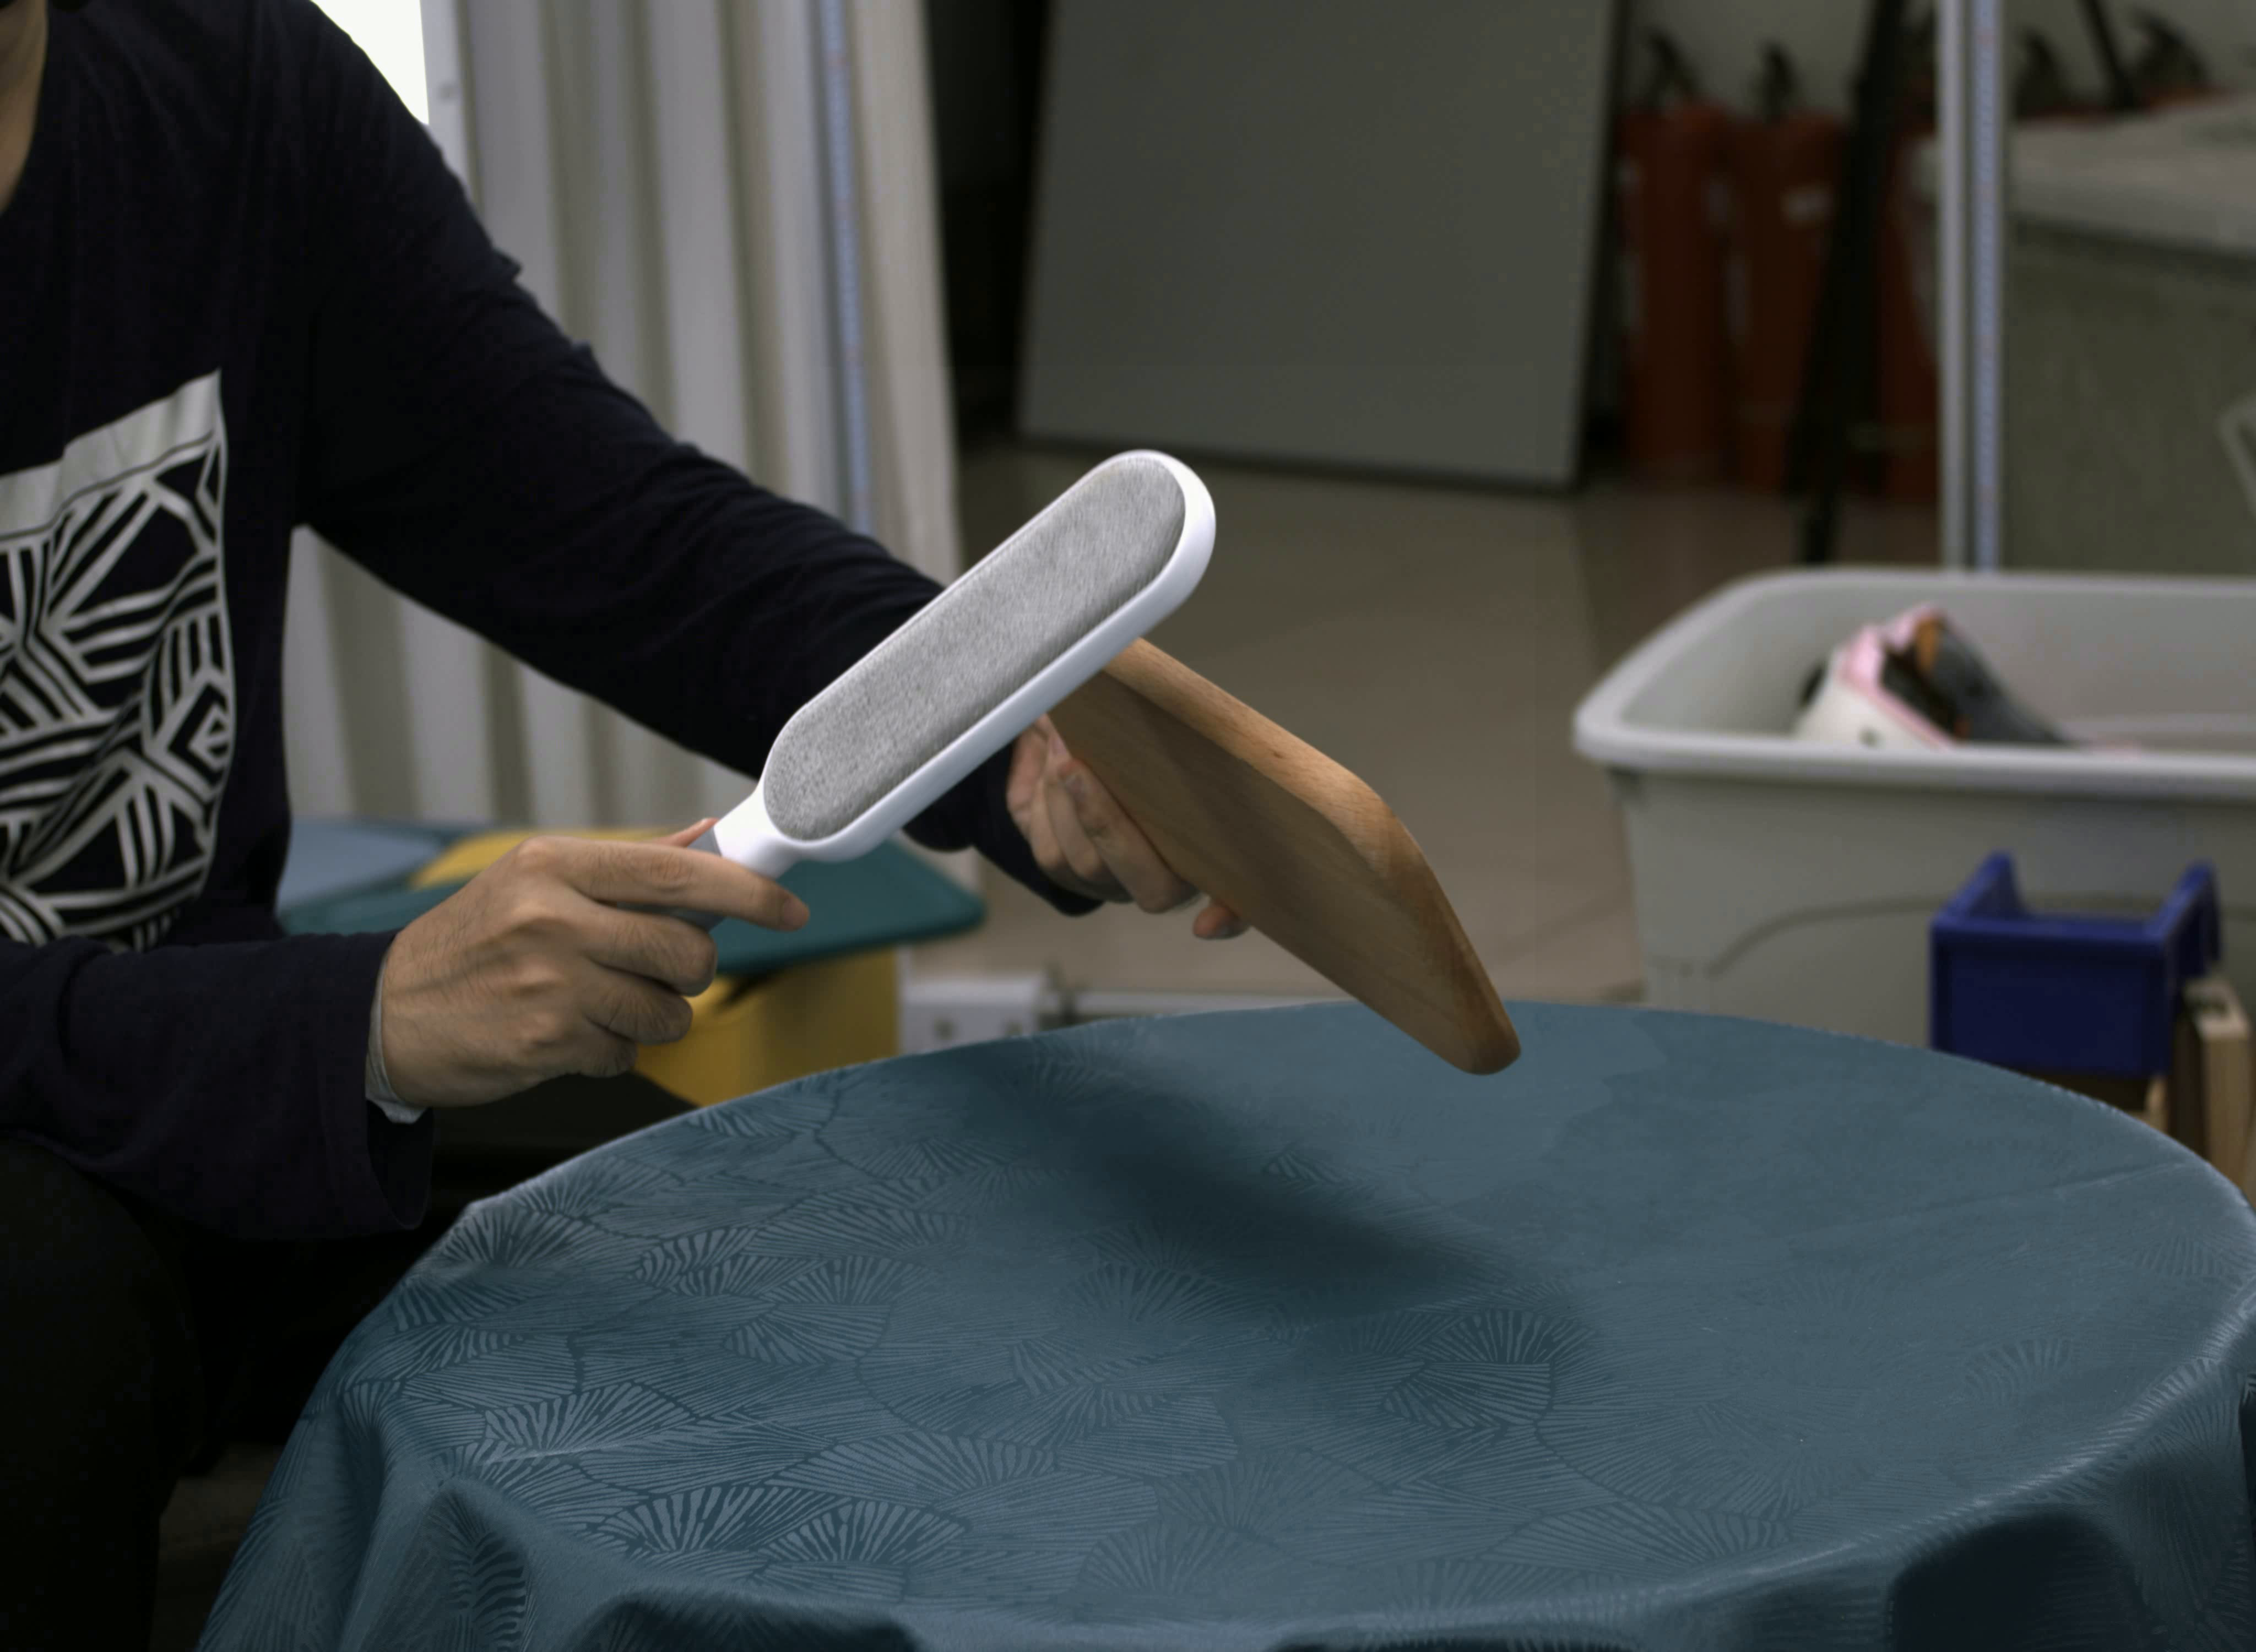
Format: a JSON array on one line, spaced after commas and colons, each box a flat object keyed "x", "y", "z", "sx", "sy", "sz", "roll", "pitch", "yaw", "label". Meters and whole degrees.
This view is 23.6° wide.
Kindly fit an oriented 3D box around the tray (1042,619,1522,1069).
[{"x": 0.038, "y": -0.005, "z": 1.736, "sx": 0.022, "sy": 0.130, "sz": 0.253, "roll": -36, "pitch": 32, "yaw": -14, "label": "tray"}]

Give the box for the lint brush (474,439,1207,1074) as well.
[{"x": -0.094, "y": -0.017, "z": 1.690, "sx": 0.310, "sy": 0.061, "sz": 0.020, "roll": -39, "pitch": -37, "yaw": 21, "label": "lint brush"}]
